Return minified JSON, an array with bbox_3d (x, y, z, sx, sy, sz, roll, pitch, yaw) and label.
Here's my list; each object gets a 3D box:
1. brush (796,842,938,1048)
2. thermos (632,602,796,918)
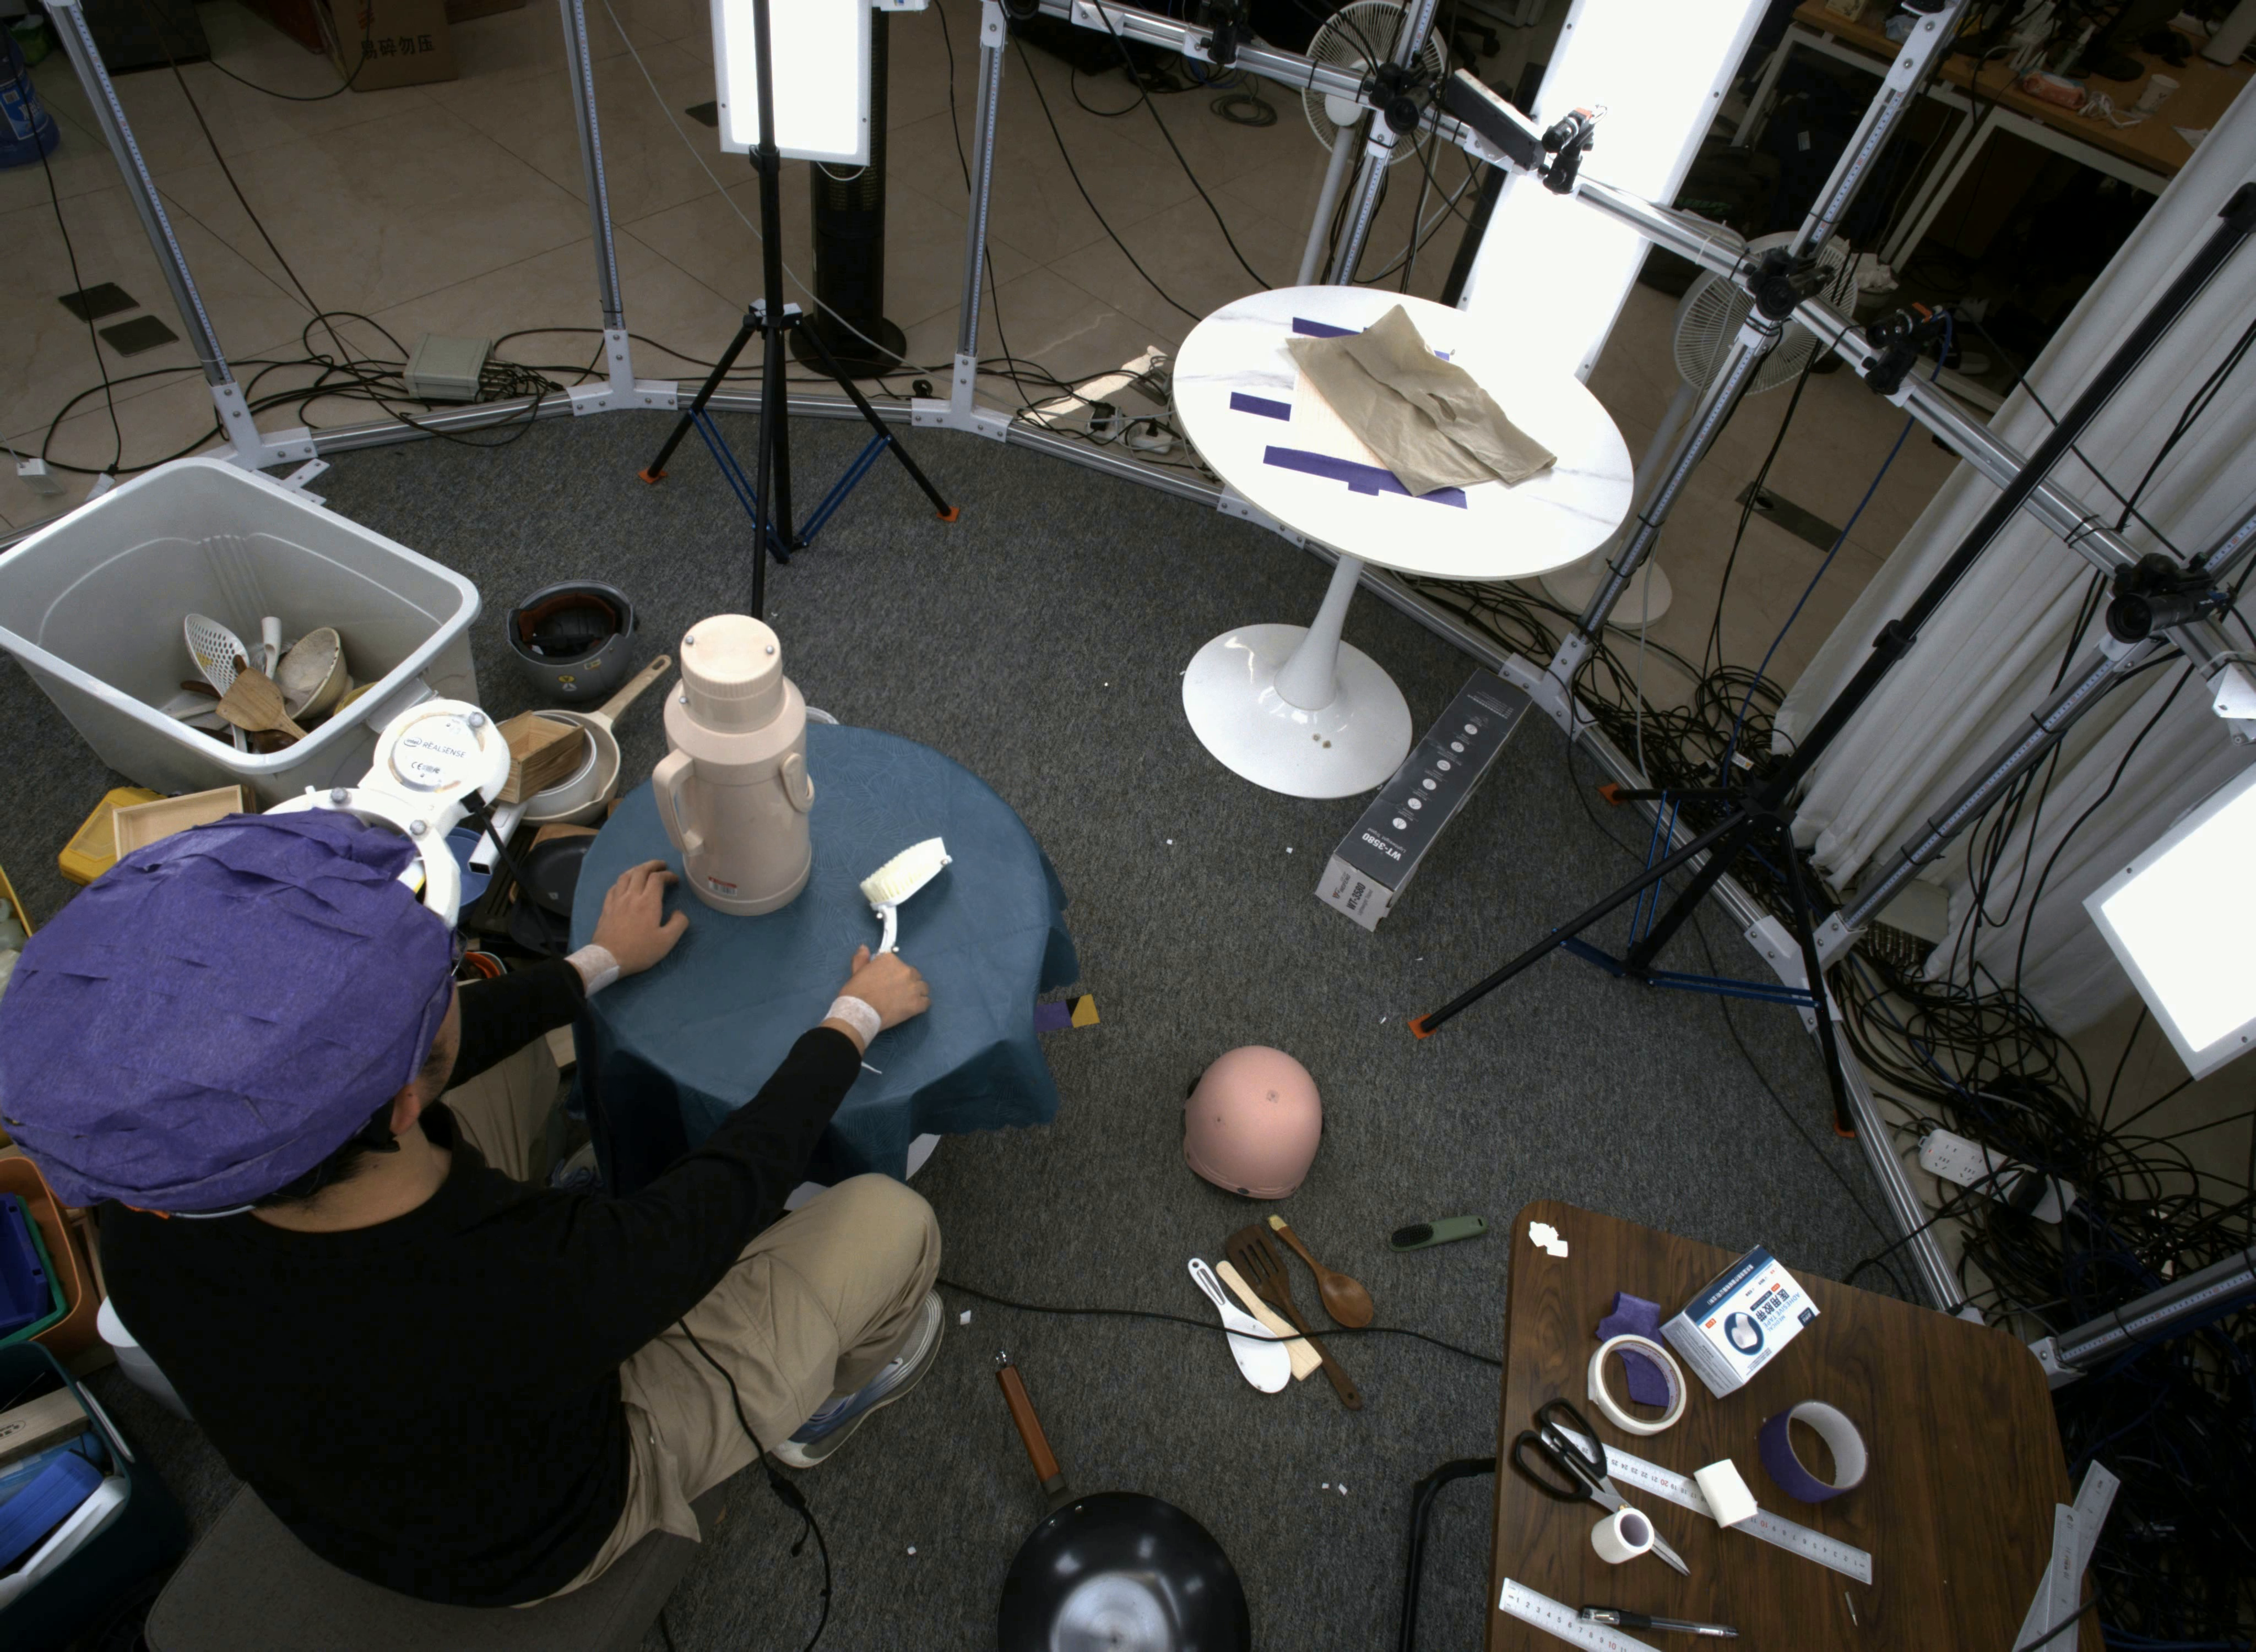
[{"bbox_3d":[-0.334,0.126,1.598,0.083,0.084,0.323,26,51,5],"label":"brush"},{"bbox_3d":[-0.484,-0.065,1.494,0.172,0.414,0.206,32,52,12],"label":"thermos"}]
